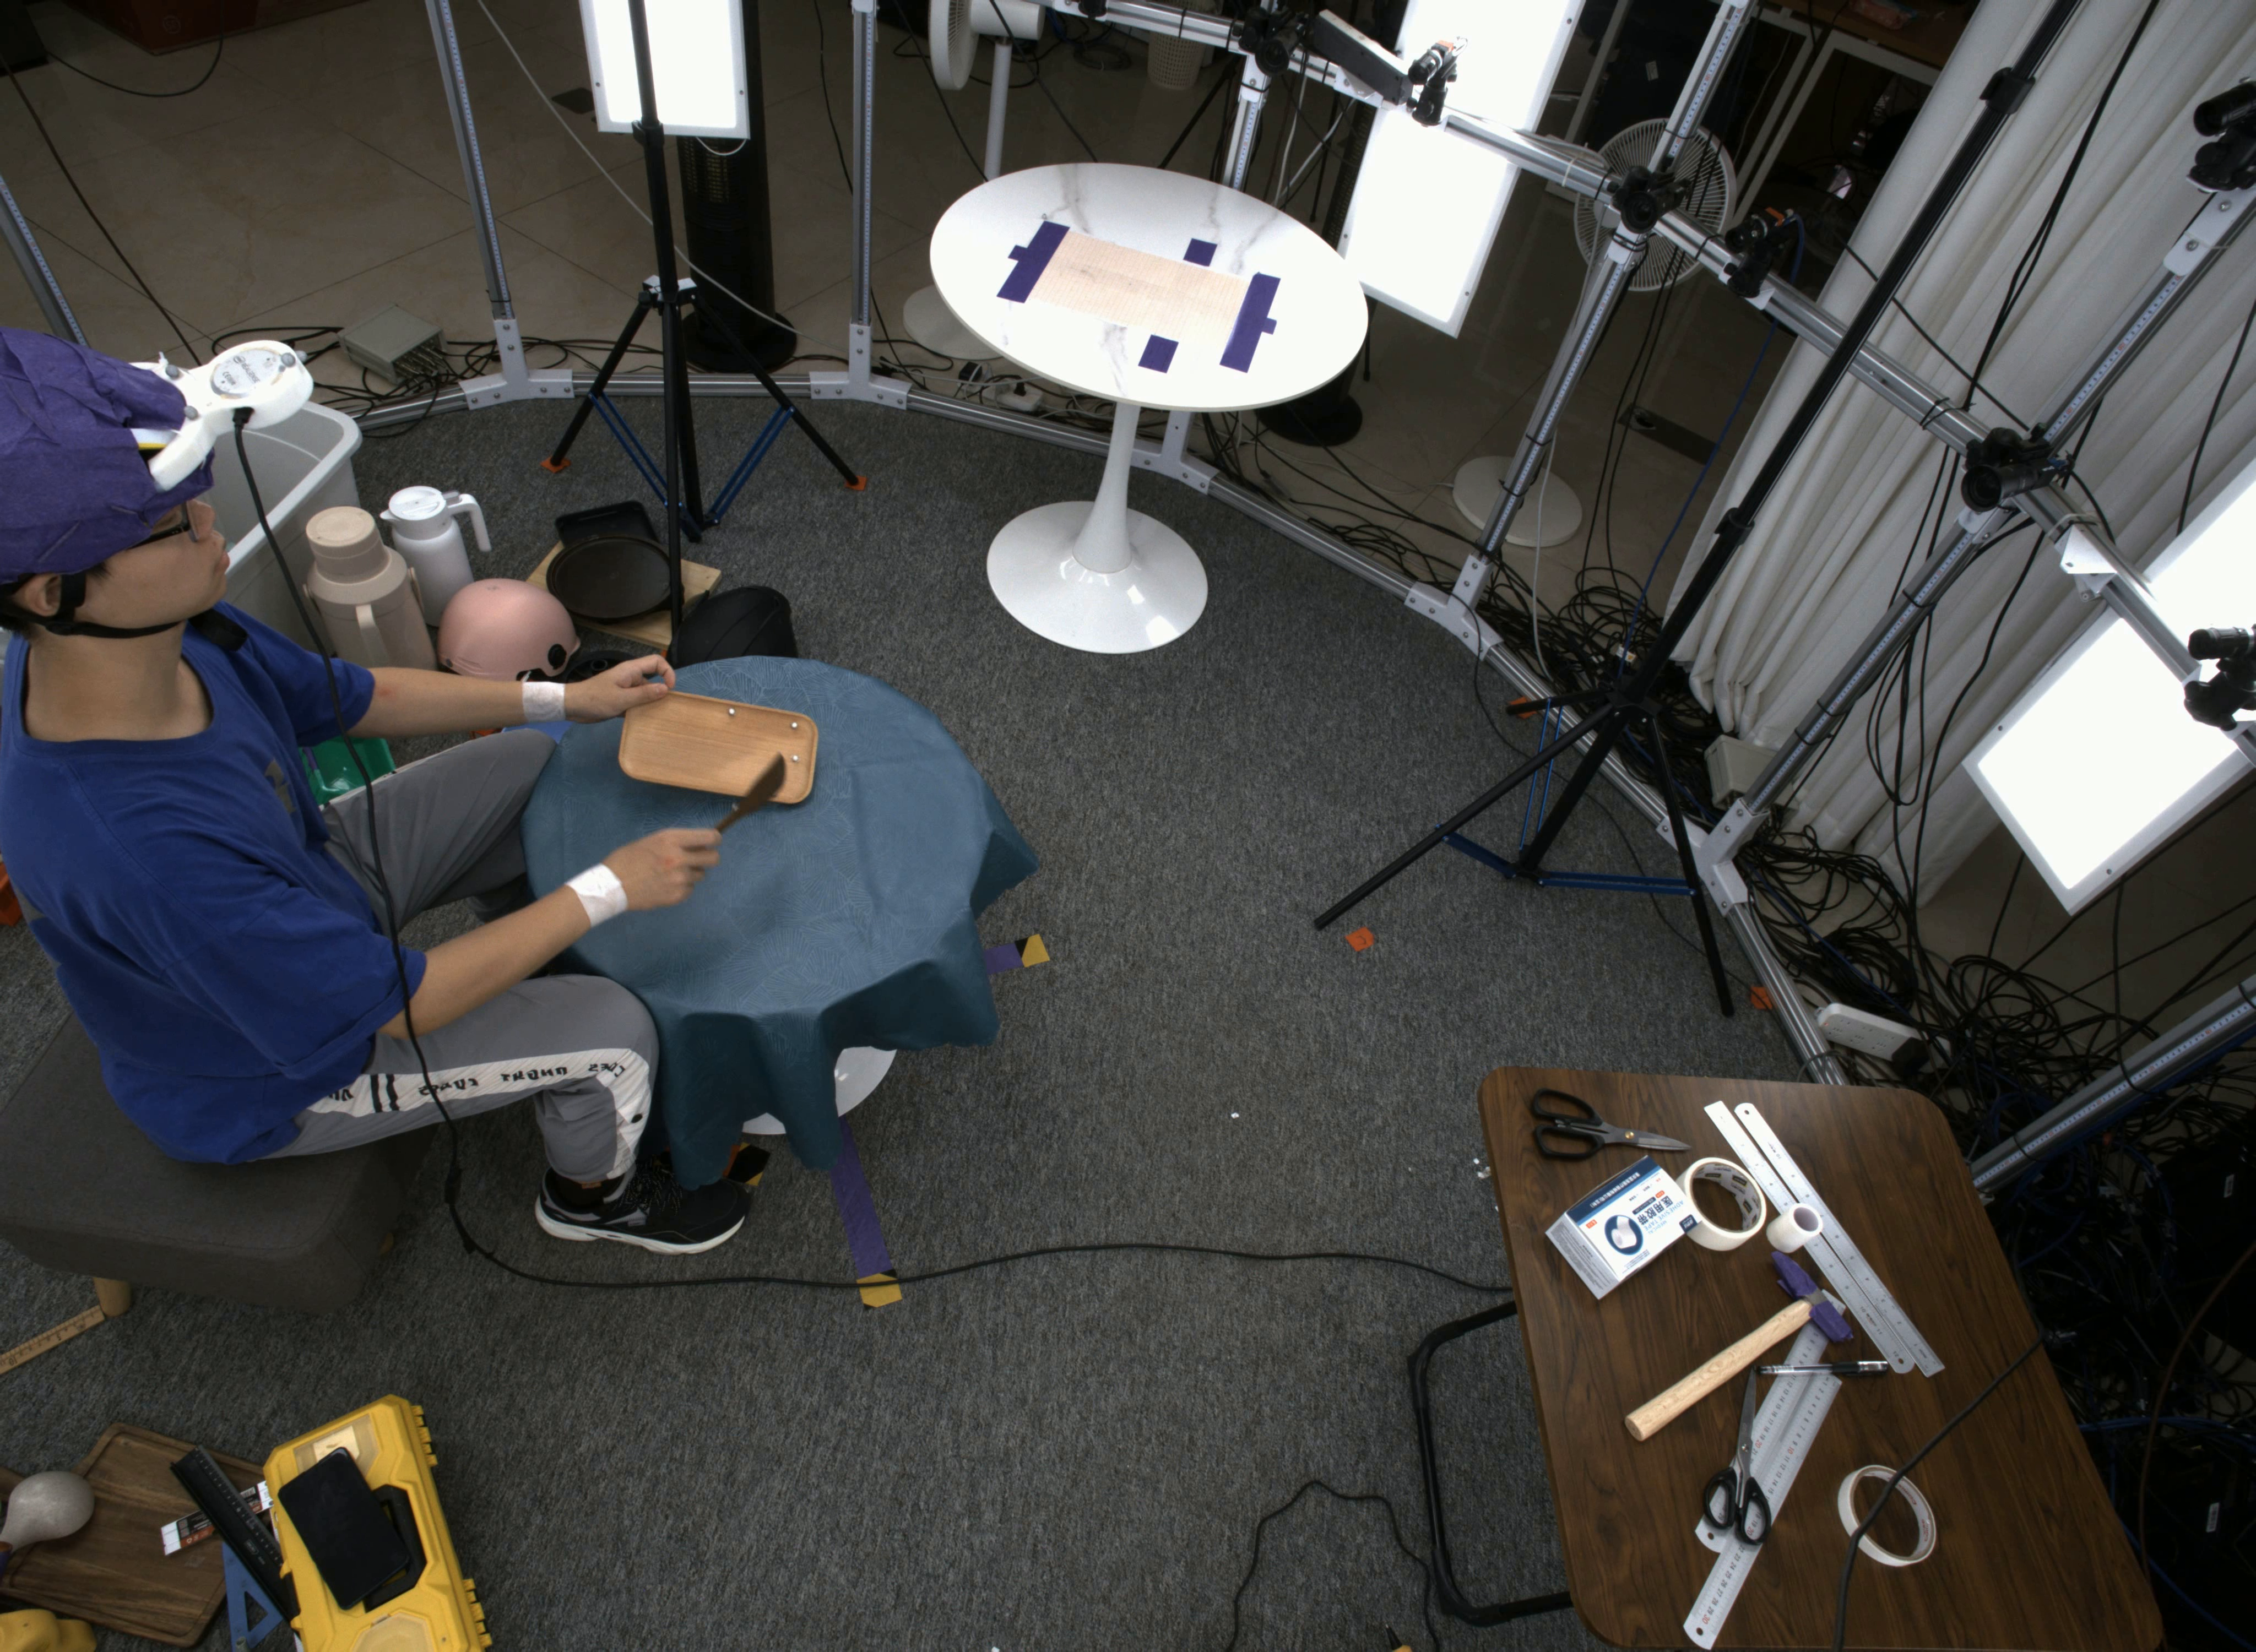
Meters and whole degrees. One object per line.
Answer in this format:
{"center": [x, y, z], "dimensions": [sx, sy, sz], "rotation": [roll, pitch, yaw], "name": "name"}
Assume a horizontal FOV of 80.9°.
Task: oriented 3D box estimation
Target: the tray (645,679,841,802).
{"center": [-0.513, -0.113, 1.727], "dimensions": [0.254, 0.022, 0.130], "rotation": [11, 72, -22], "name": "tray"}

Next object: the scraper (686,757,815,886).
{"center": [-0.454, -0.003, 1.568], "dimensions": [0.010, 0.077, 0.211], "rotation": [40, 64, 10], "name": "scraper"}
